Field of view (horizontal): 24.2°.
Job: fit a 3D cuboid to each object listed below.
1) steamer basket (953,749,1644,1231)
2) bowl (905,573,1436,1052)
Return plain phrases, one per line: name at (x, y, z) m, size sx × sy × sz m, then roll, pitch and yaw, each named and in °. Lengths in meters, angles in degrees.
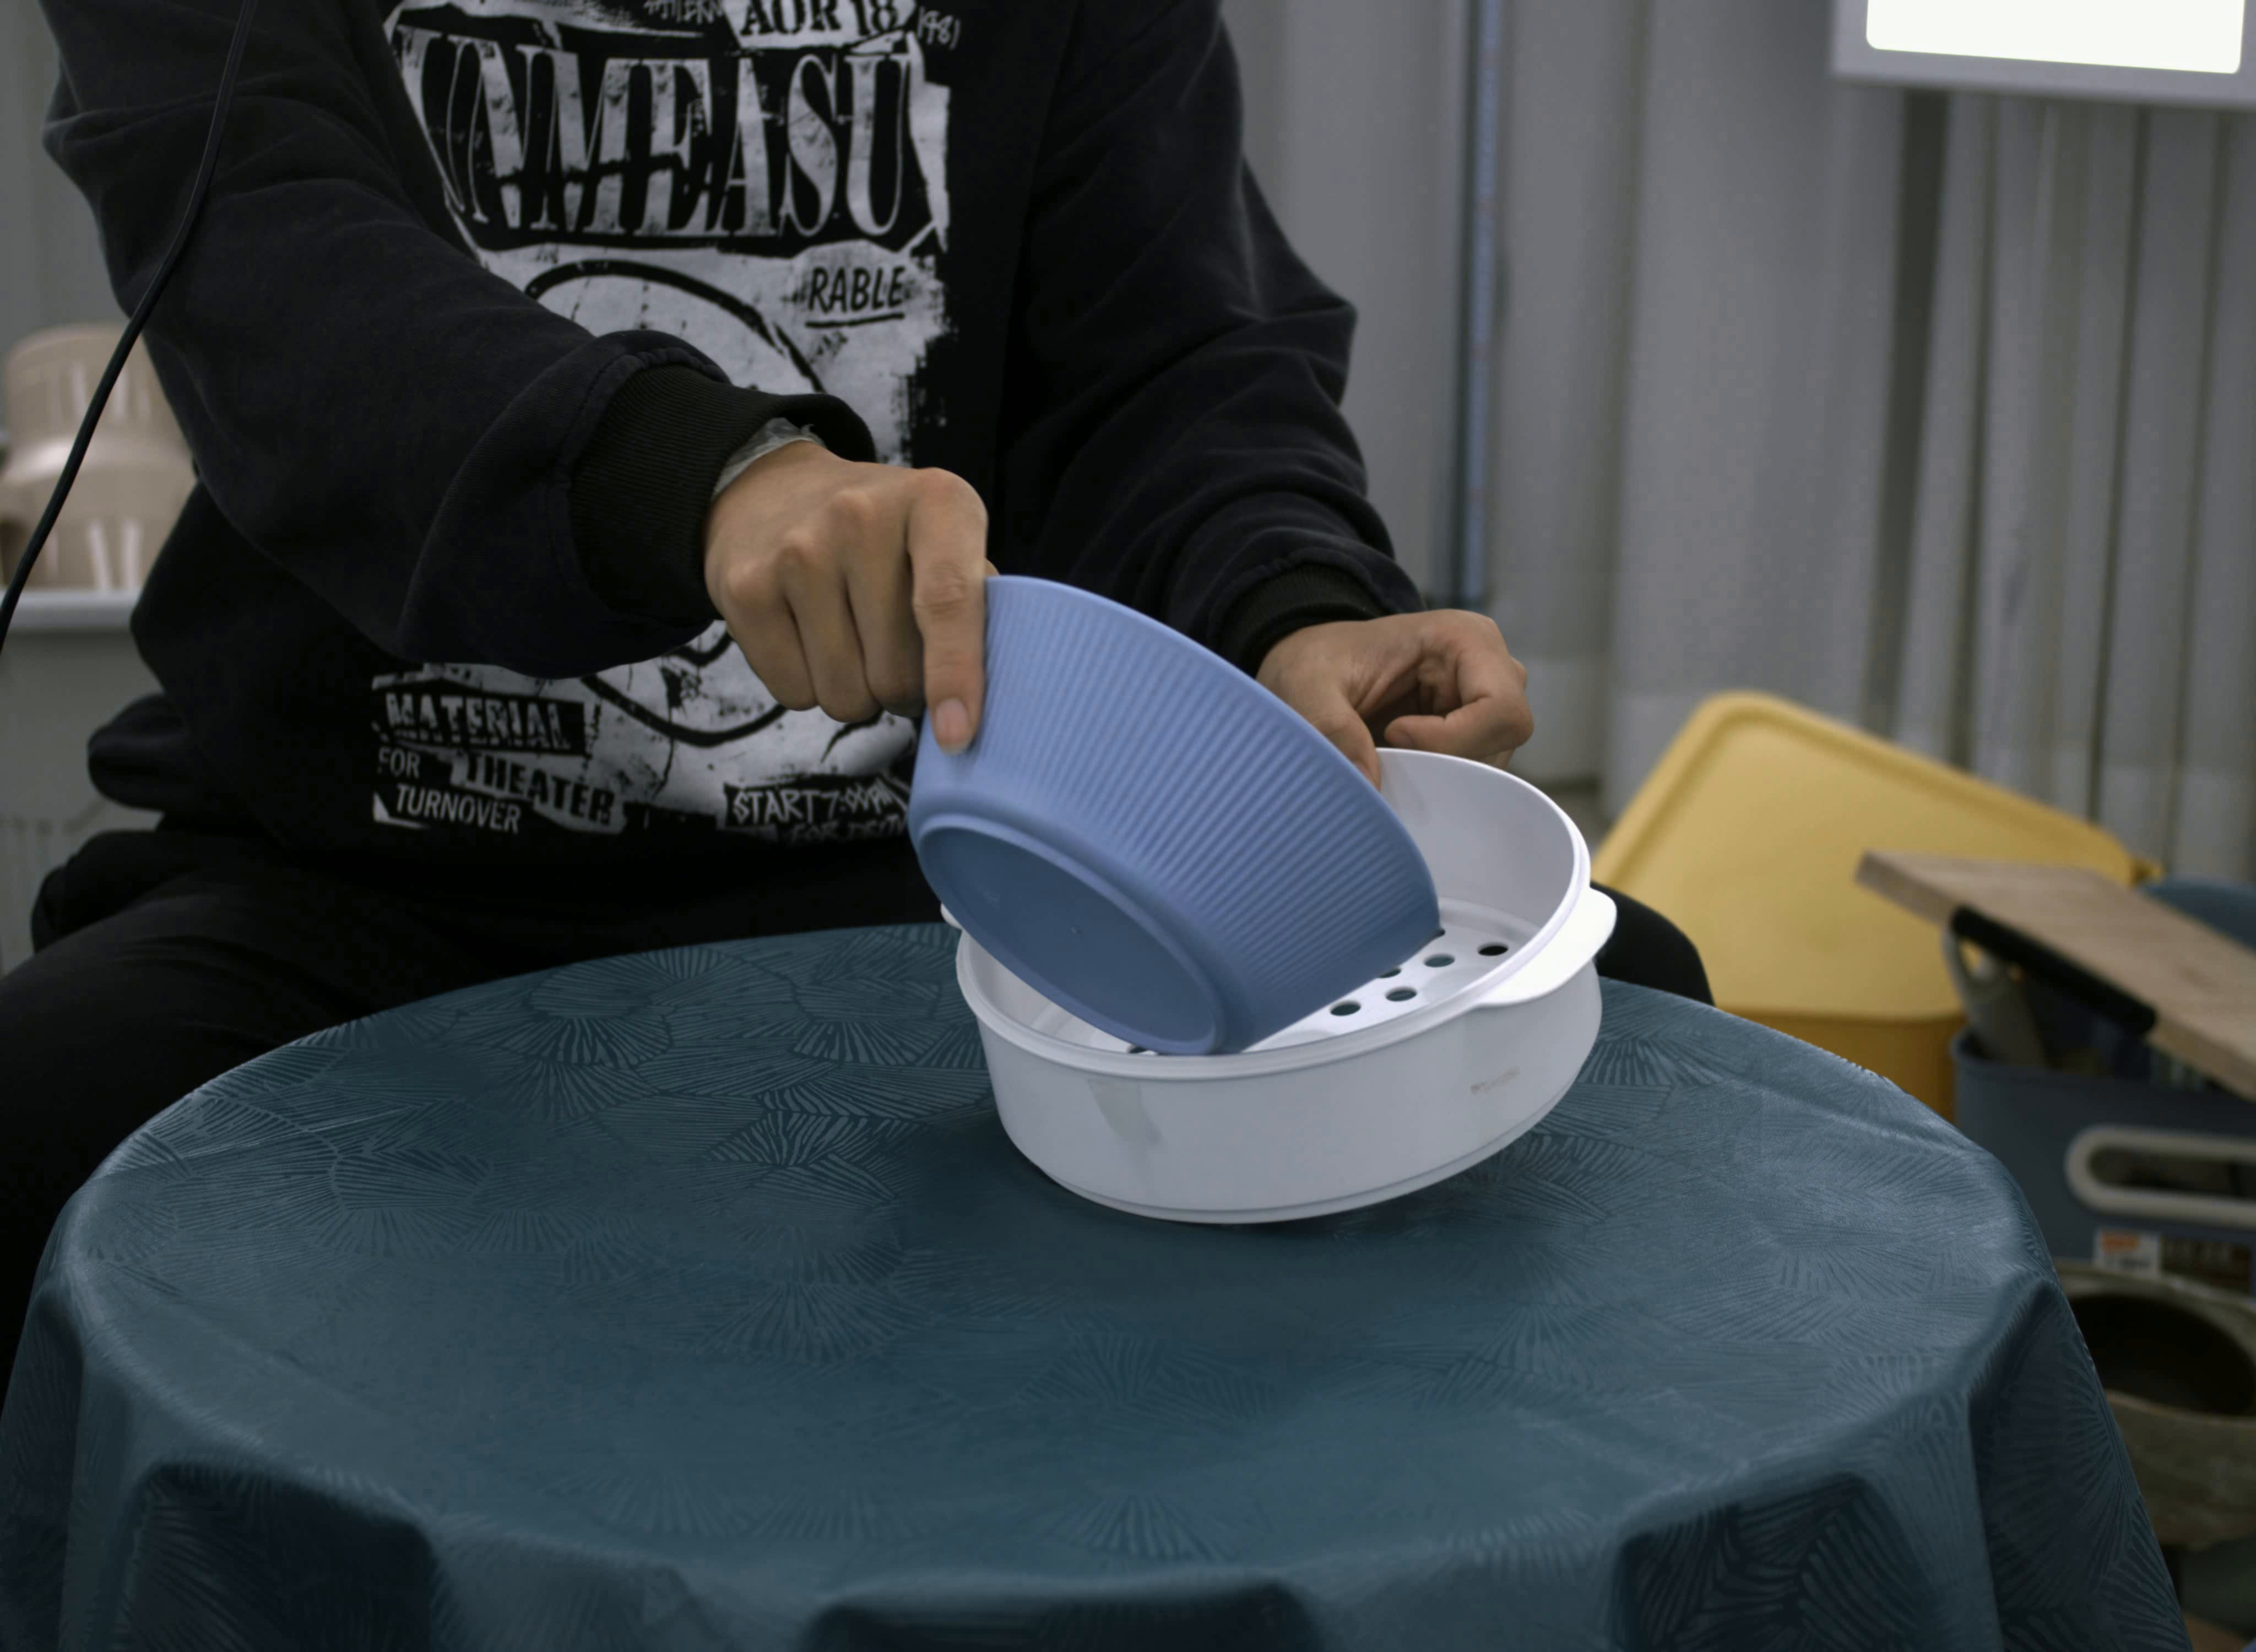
steamer basket at (0.054, 0.051, 1.652) m, size 0.228 × 0.070 × 0.202 m, roll 9°, pitch 33°, yaw 31°
bowl at (0.000, 0.007, 1.554) m, size 0.173 × 0.178 × 0.070 m, roll 16°, pitch 63°, yaw 41°
